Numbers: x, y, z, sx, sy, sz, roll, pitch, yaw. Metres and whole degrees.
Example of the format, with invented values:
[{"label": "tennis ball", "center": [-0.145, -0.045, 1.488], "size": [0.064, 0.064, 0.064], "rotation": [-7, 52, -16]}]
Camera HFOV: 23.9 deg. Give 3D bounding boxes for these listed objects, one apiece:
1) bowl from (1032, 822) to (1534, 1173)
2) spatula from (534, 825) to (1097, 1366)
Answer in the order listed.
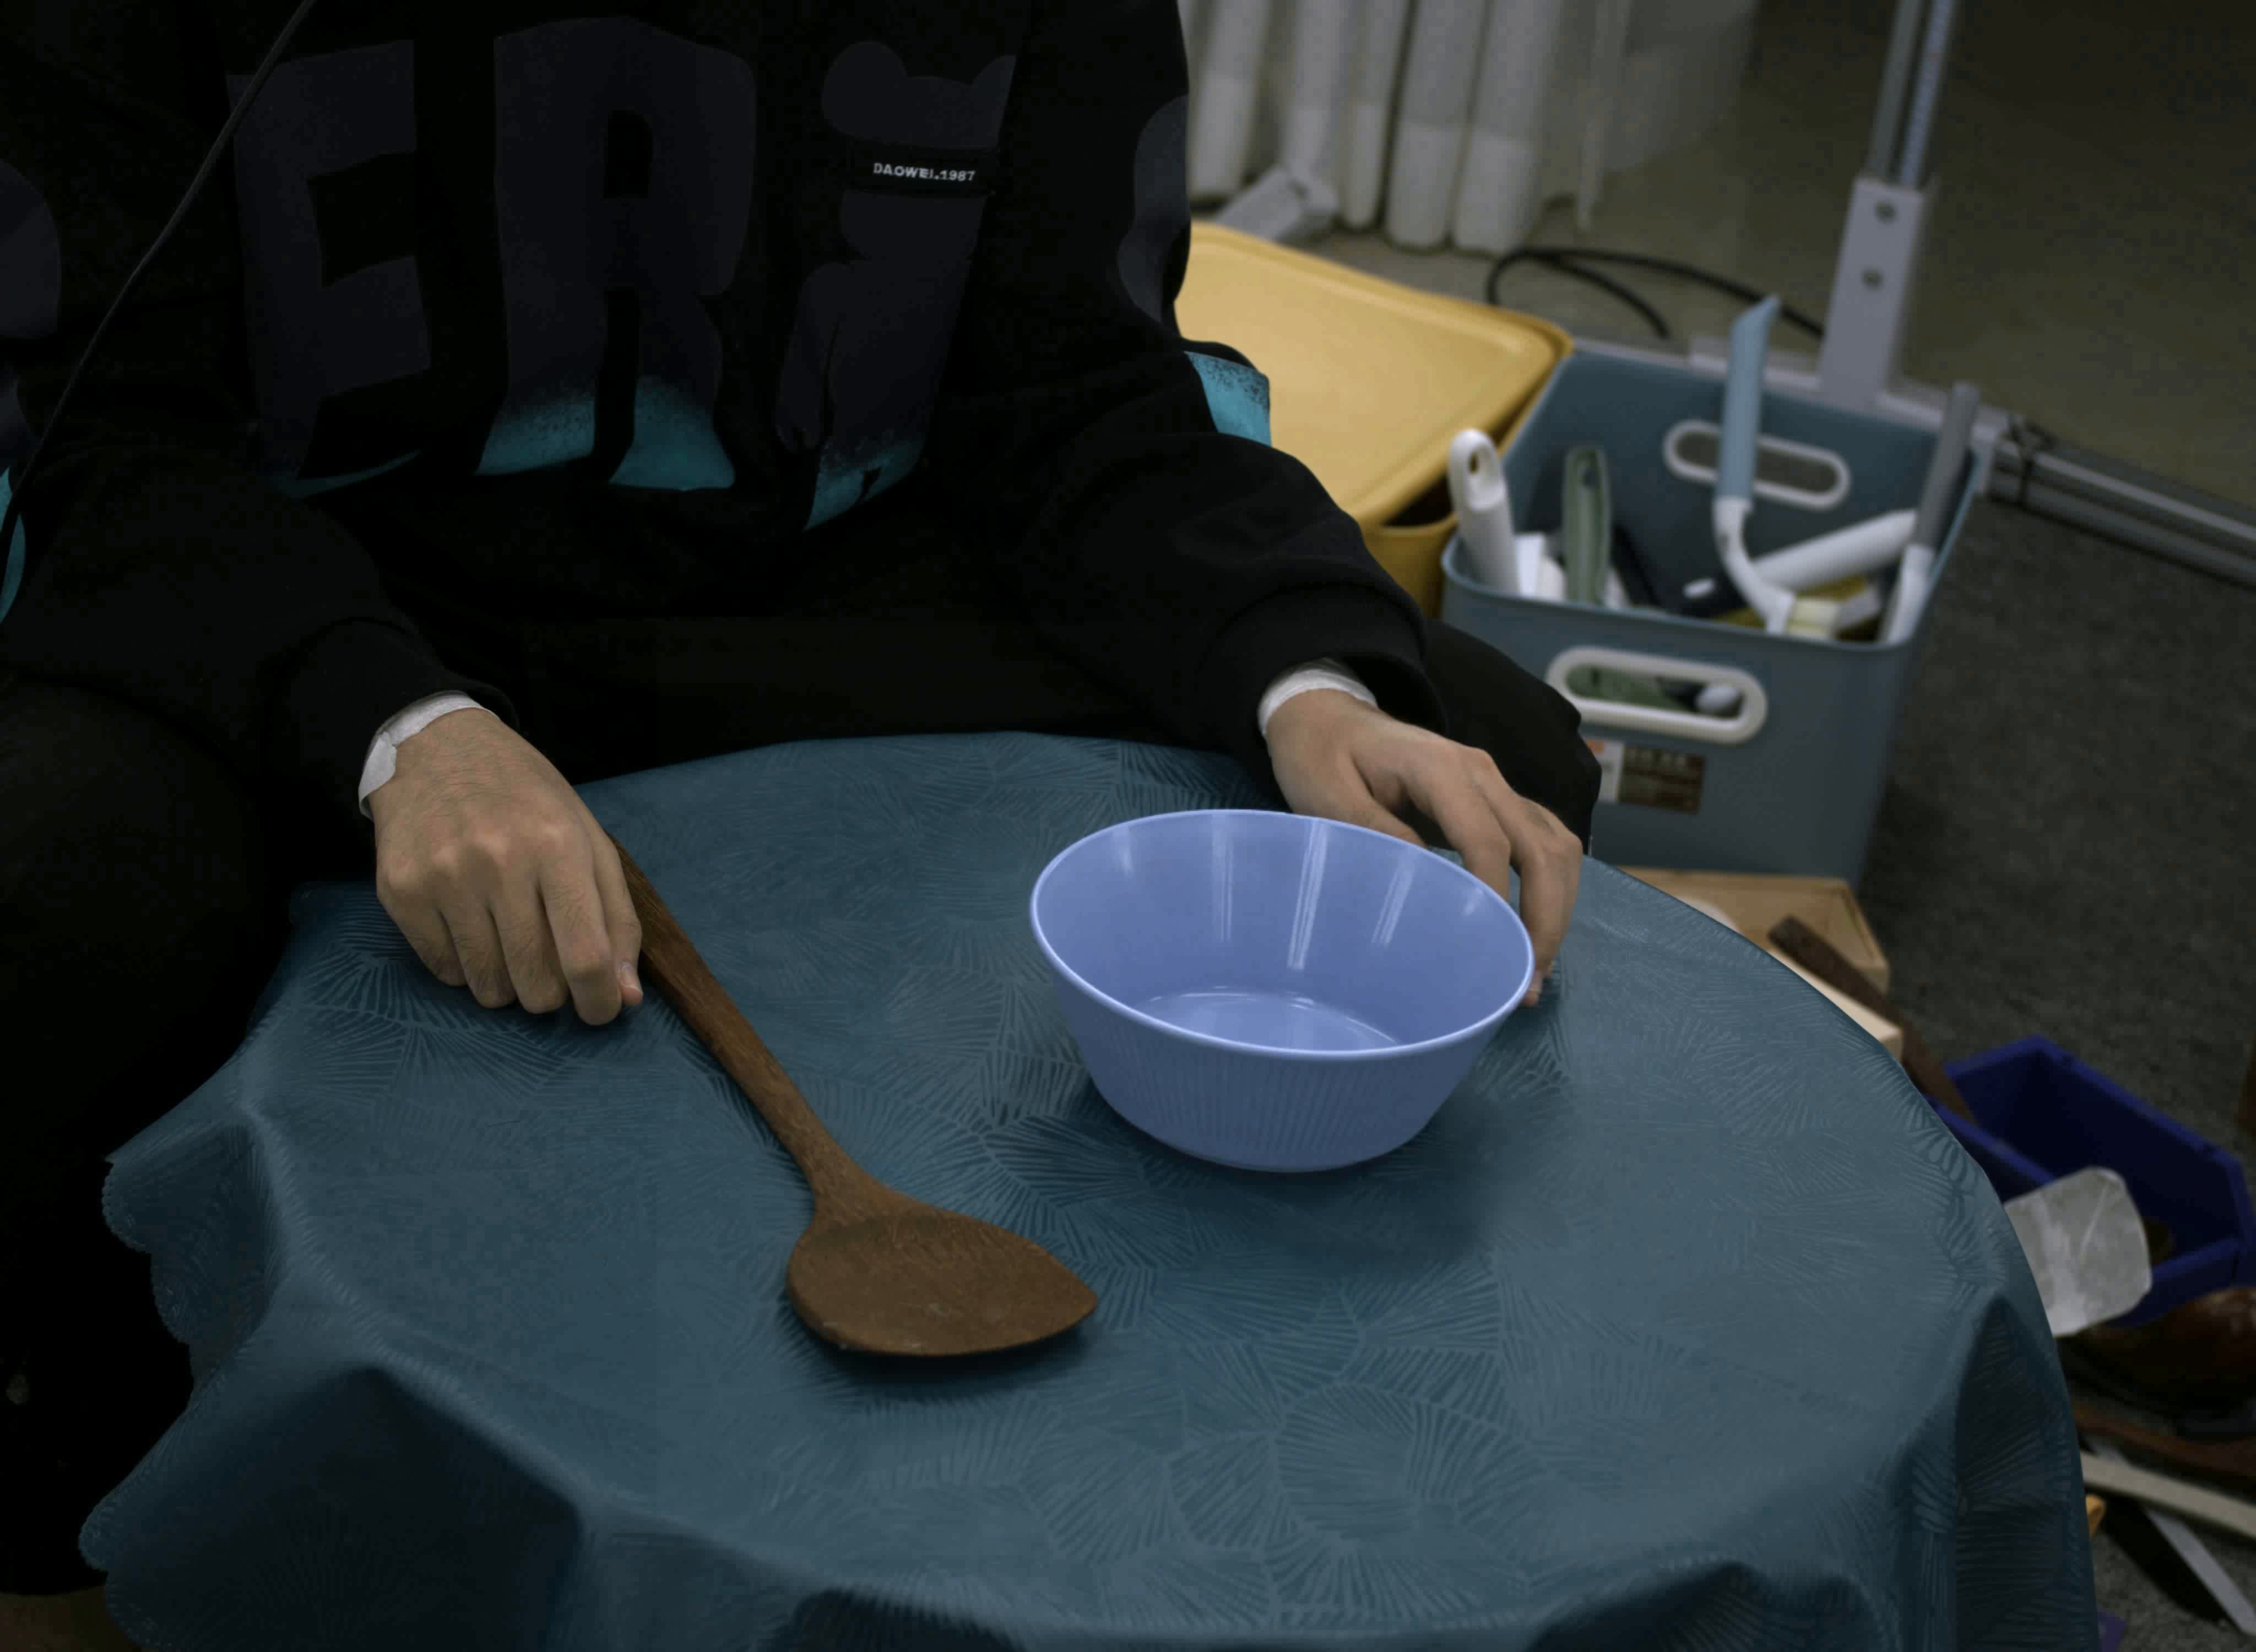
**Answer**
[{"label": "bowl", "center": [0.050, 0.065, 1.851], "size": [0.175, 0.070, 0.177], "rotation": [5, 25, -3]}, {"label": "spatula", "center": [-0.129, 0.084, 1.834], "size": [0.095, 0.016, 0.389], "rotation": [-7, 29, -26]}]
